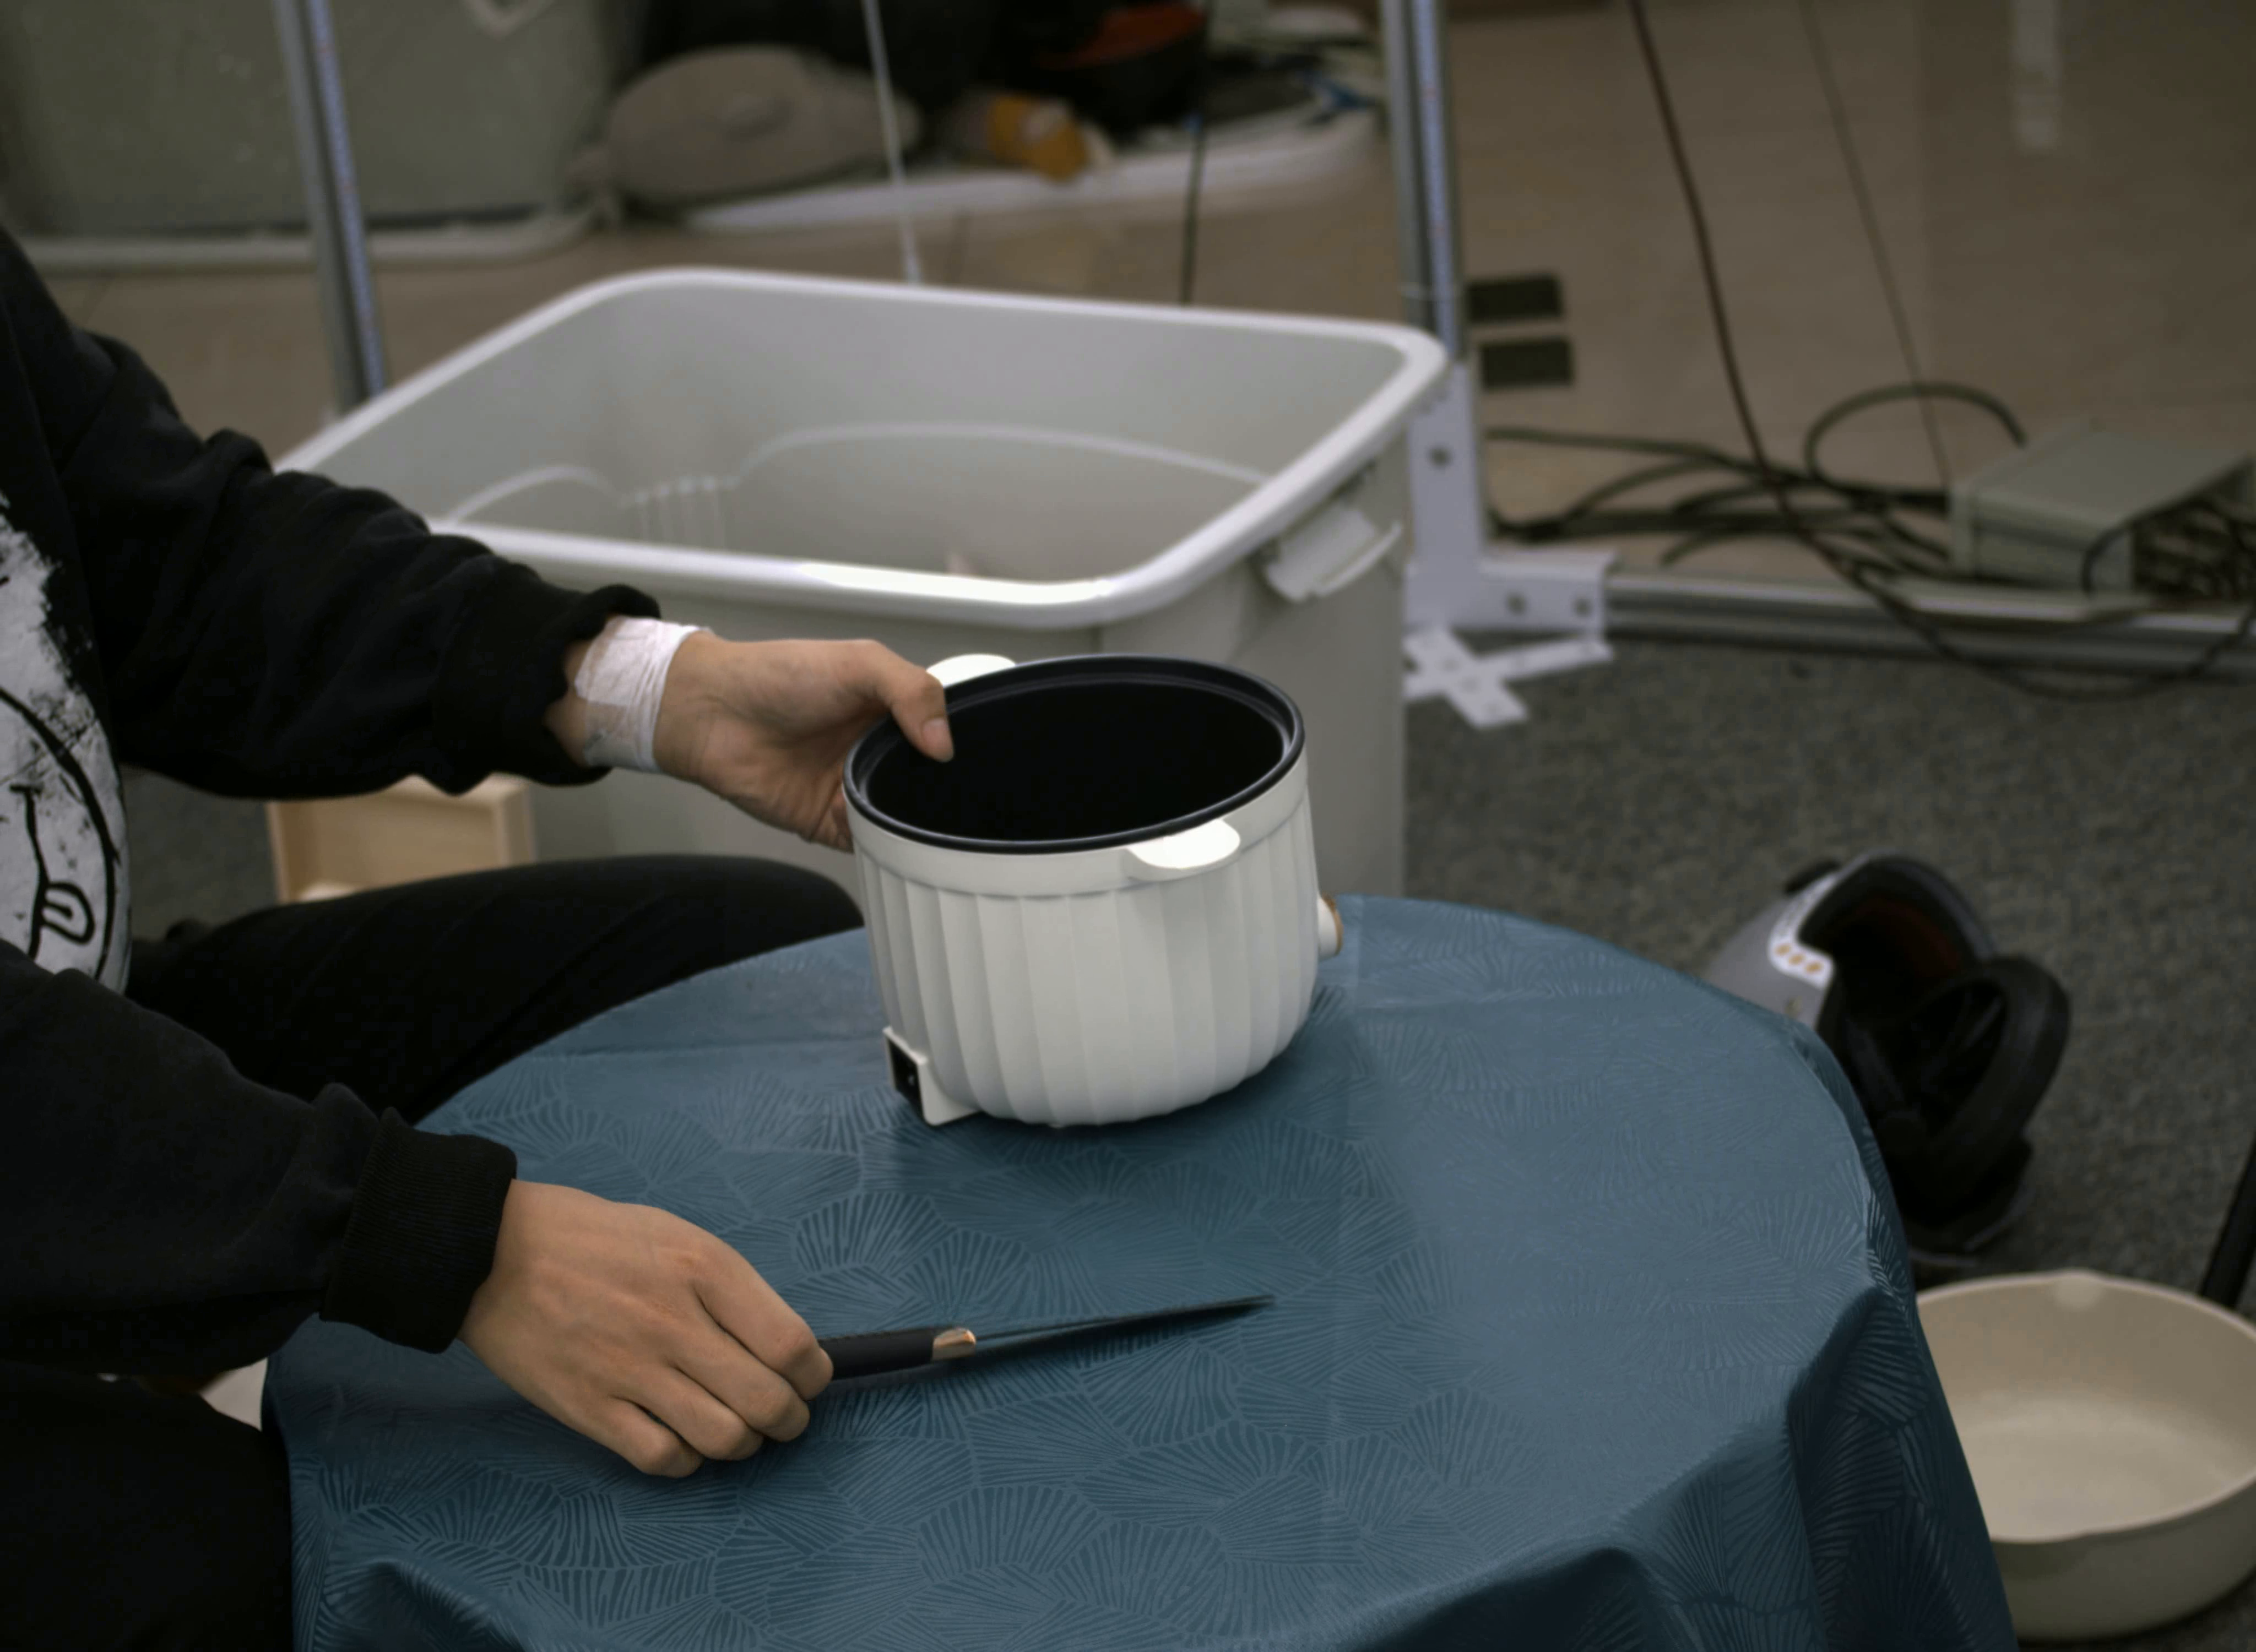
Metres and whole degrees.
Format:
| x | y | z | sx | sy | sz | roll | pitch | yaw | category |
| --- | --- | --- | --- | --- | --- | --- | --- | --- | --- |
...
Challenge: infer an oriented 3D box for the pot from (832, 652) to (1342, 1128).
| x | y | z | sx | sy | sz | roll | pitch | yaw | category |
| --- | --- | --- | --- | --- | --- | --- | --- | --- | --- |
| -0.011 | 0.027 | 2.226 | 0.189 | 0.145 | 0.237 | -20 | 30 | -20 | pot |

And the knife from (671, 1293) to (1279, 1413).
| x | y | z | sx | sy | sz | roll | pitch | yaw | category |
| --- | --- | --- | --- | --- | --- | --- | --- | --- | --- |
| -0.054 | 0.187 | 2.045 | 0.225 | 0.017 | 0.026 | -8 | -10 | -10 | knife |
